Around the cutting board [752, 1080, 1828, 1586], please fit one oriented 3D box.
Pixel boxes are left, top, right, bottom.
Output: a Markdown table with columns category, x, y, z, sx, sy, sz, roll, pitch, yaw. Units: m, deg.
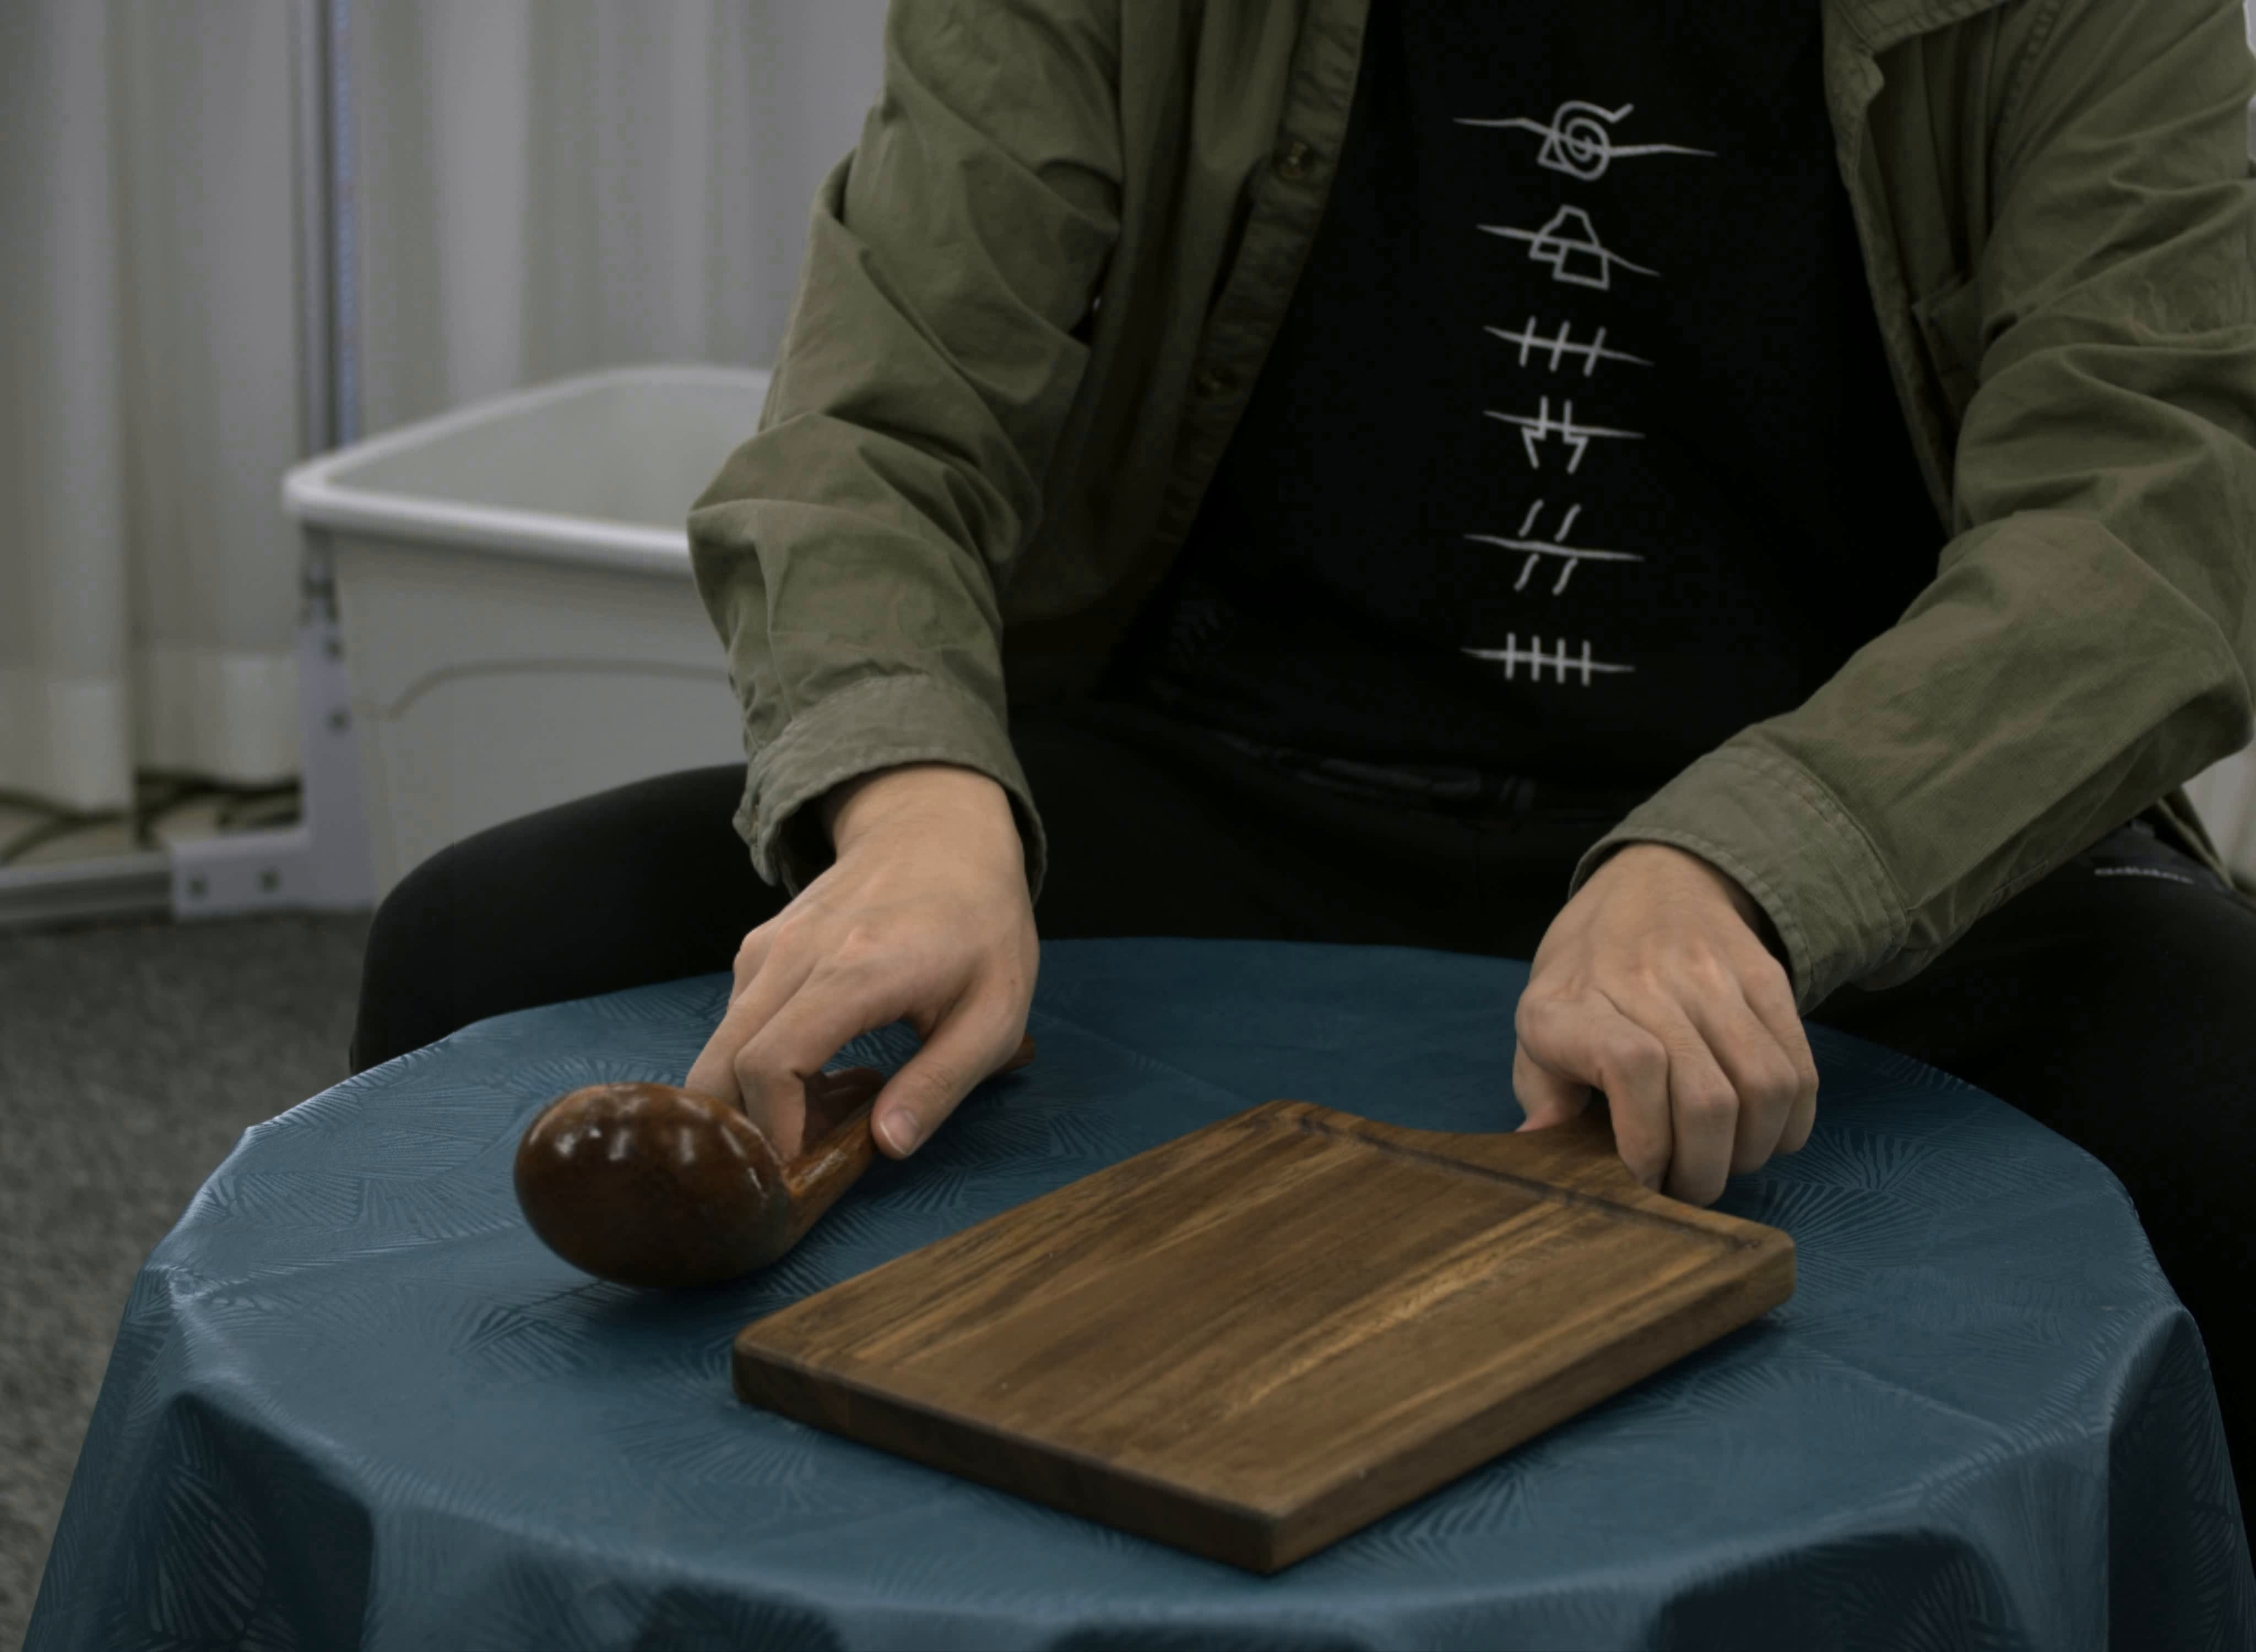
| category | x | y | z | sx | sy | sz | roll | pitch | yaw |
| --- | --- | --- | --- | --- | --- | --- | --- | --- | --- |
| cutting board | 0.081 | 0.129 | 1.514 | 0.198 | 0.023 | 0.354 | 14 | 22 | 39 |

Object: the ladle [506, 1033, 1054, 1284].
| category | x | y | z | sx | sy | sz | roll | pitch | yaw |
| --- | --- | --- | --- | --- | --- | --- | --- | --- | --- |
| ladle | -0.099 | 0.078 | 1.613 | 0.081 | 0.077 | 0.274 | -13 | 9 | 26 |
